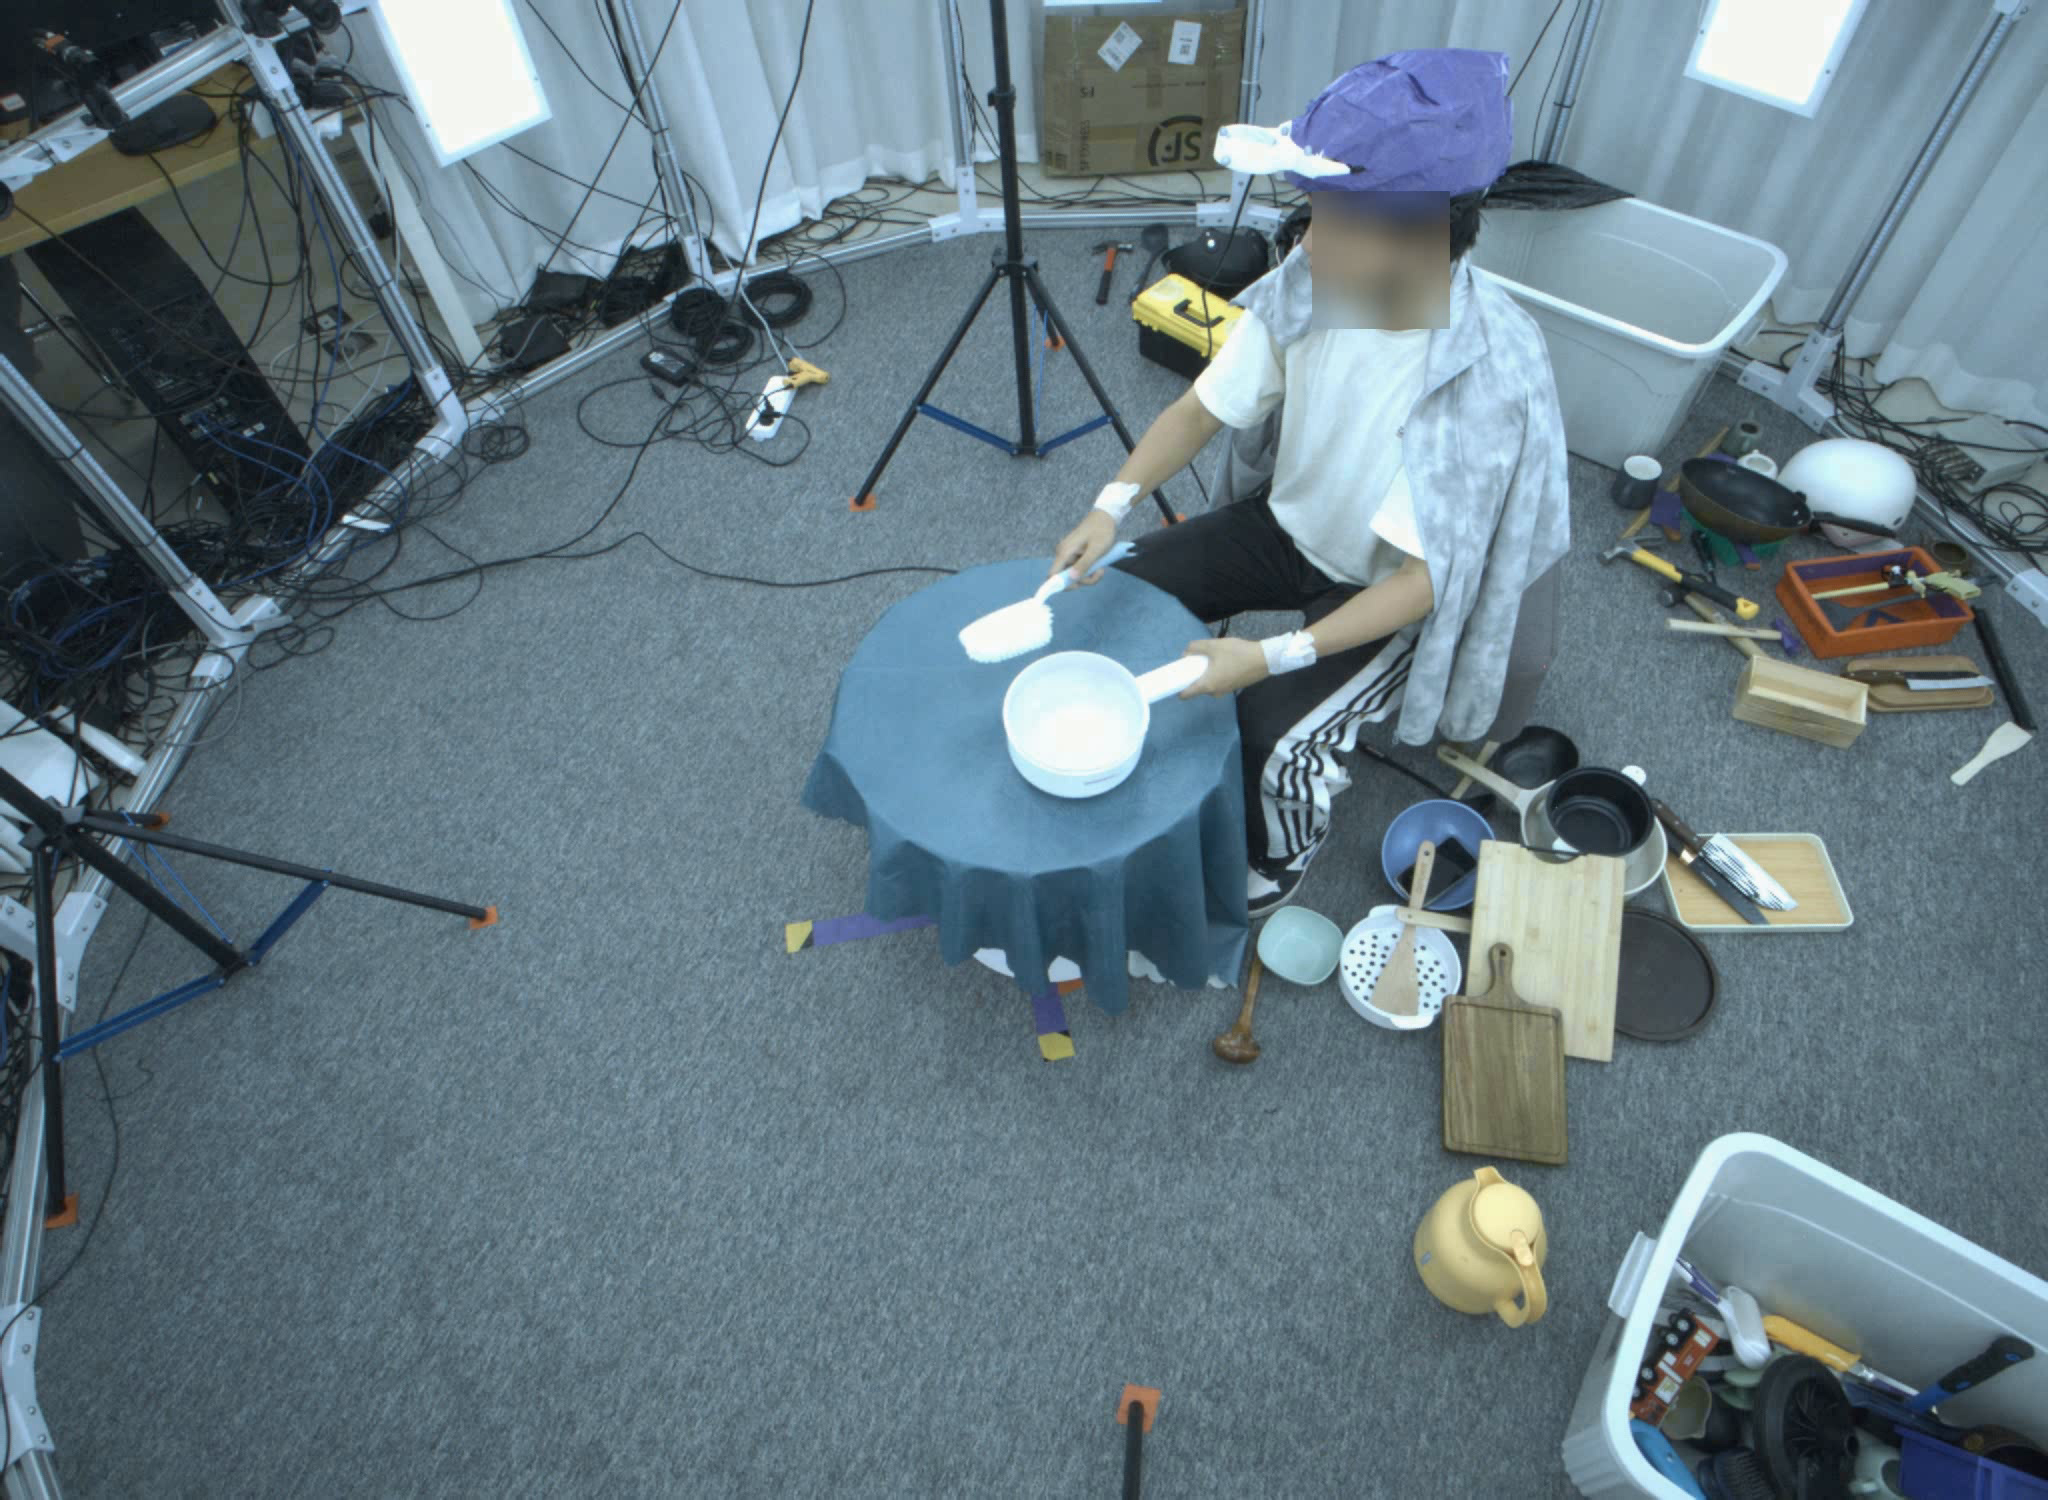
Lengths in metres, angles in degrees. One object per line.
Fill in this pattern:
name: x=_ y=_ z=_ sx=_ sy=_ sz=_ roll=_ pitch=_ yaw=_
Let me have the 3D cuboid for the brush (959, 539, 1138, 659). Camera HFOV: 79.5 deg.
brush: x=0.055 y=-0.219 z=1.787 sx=0.328 sy=0.082 sz=0.085 roll=-30 pitch=93 yaw=-21

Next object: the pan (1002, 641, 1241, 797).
pan: x=0.141 y=-0.059 z=1.759 sx=0.357 sy=0.103 sz=0.198 roll=-22 pitch=62 yaw=-13
